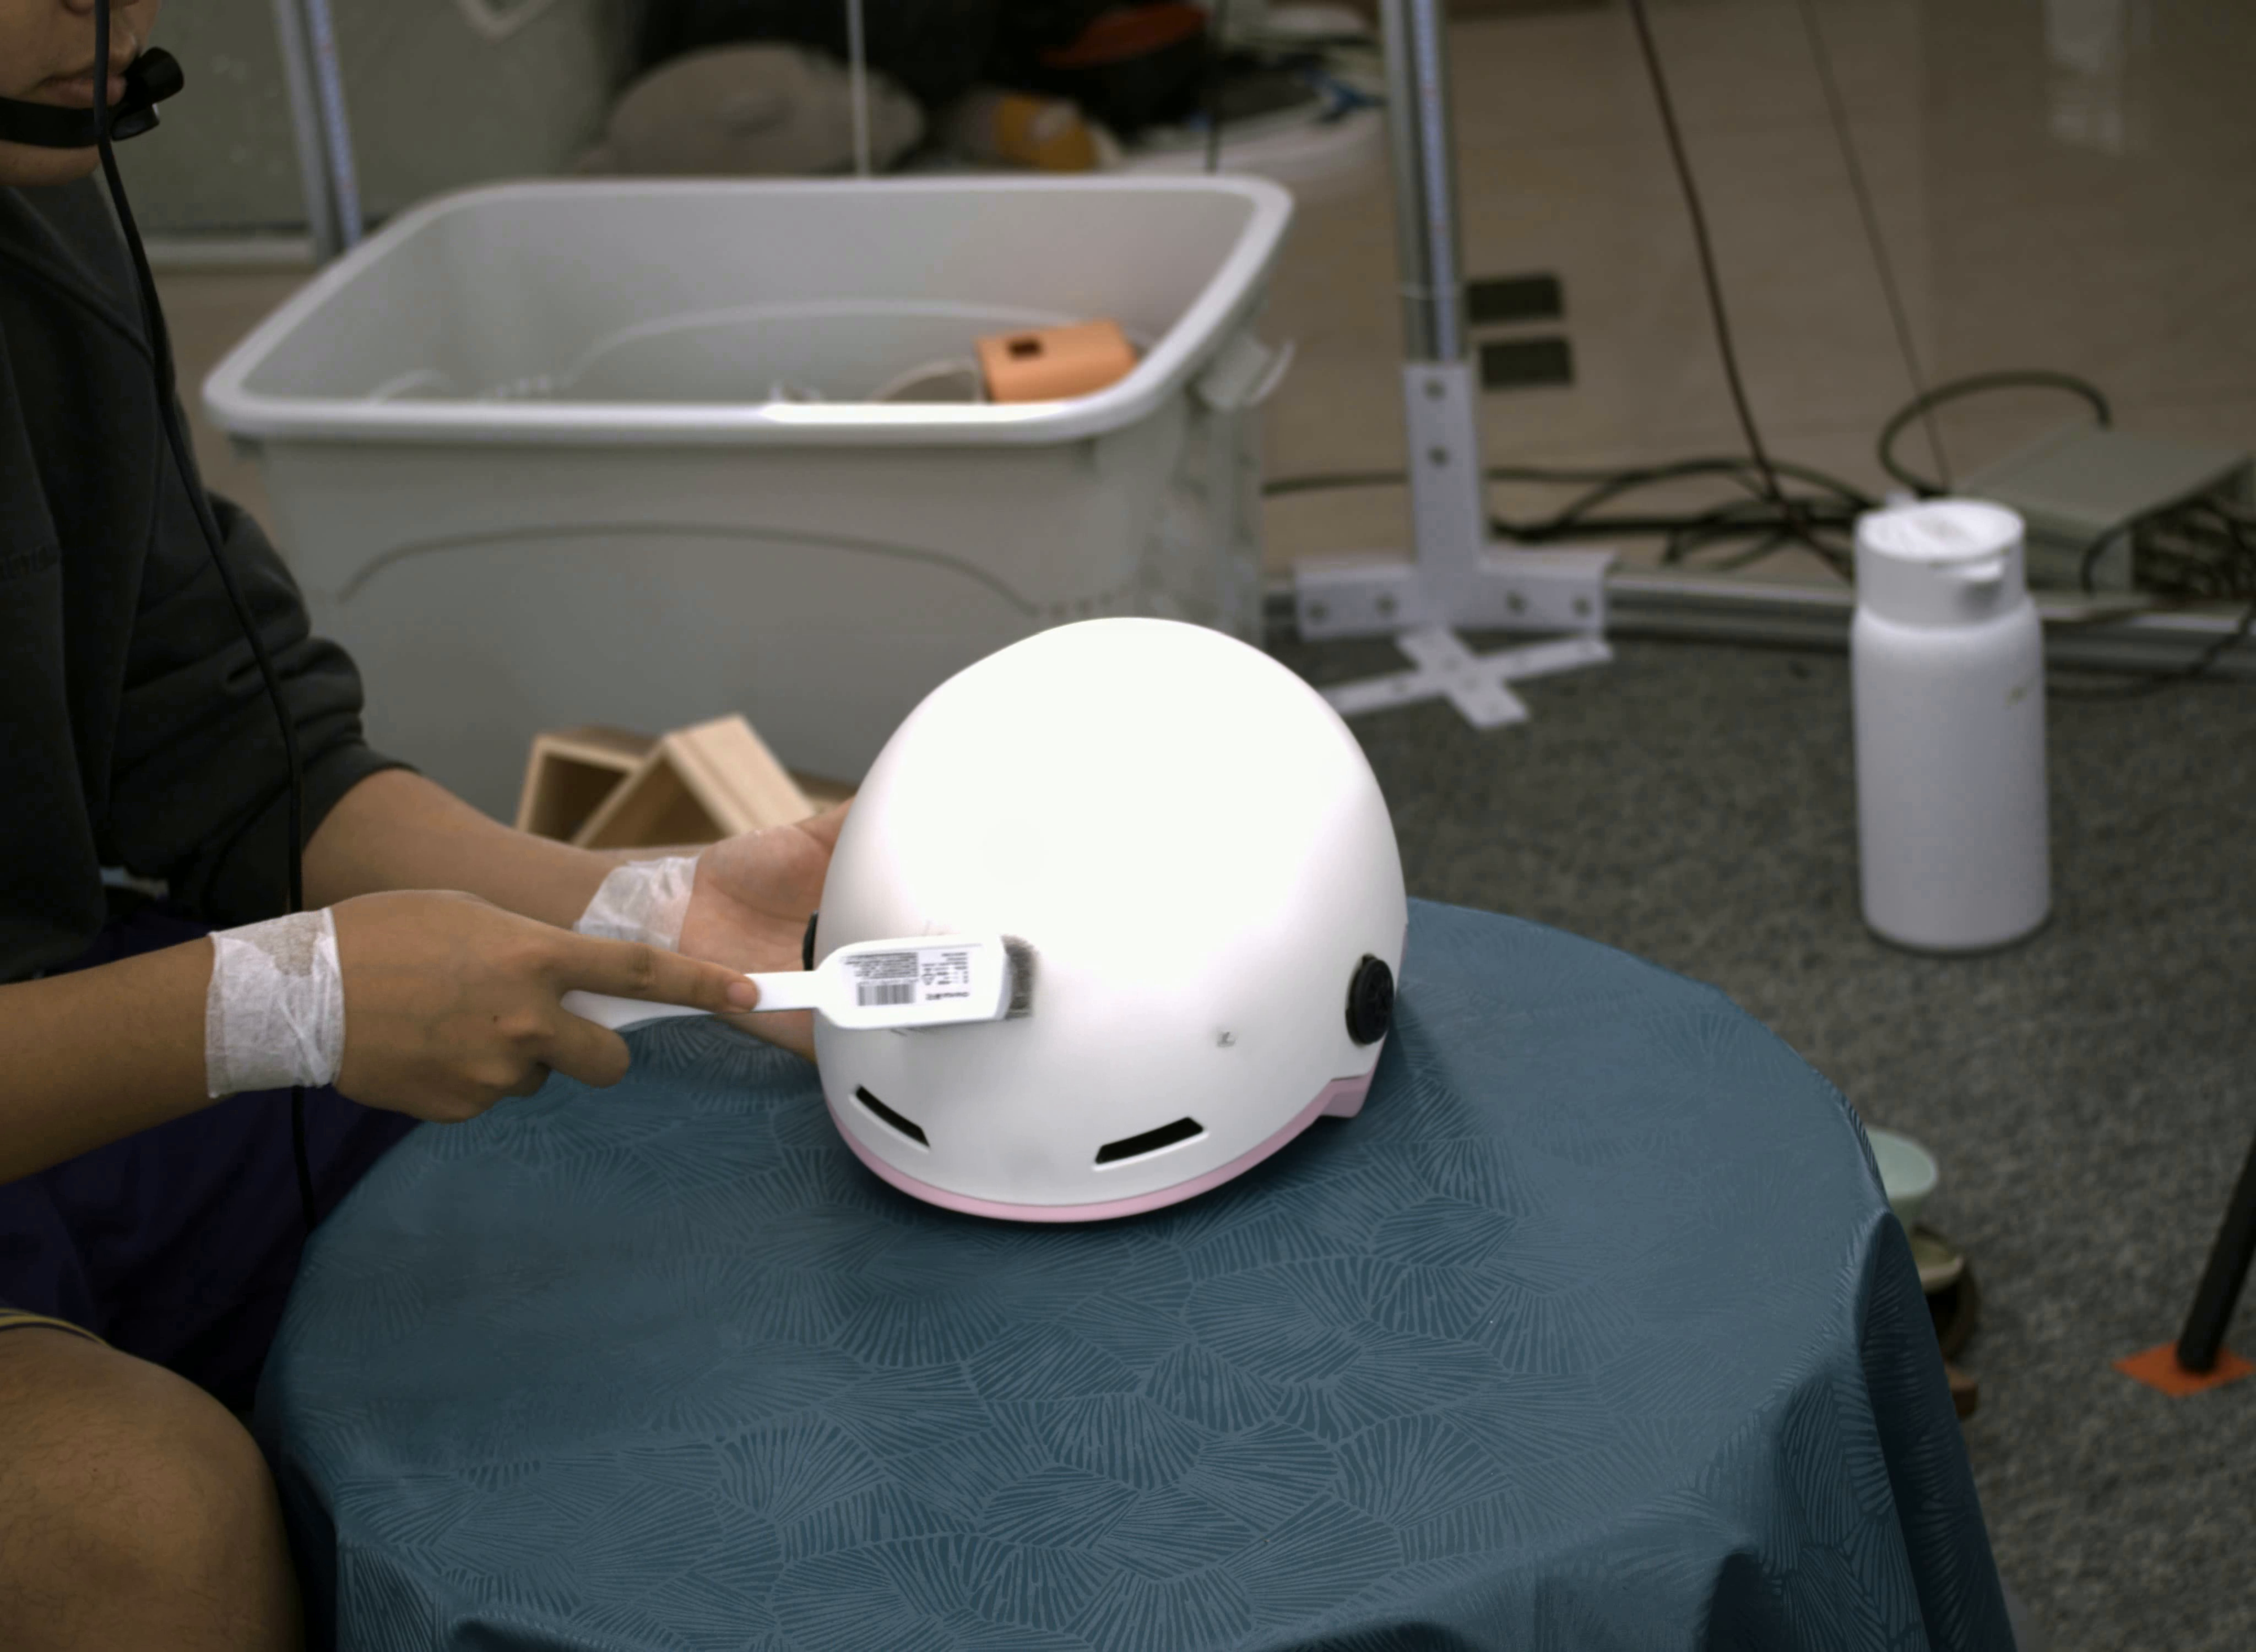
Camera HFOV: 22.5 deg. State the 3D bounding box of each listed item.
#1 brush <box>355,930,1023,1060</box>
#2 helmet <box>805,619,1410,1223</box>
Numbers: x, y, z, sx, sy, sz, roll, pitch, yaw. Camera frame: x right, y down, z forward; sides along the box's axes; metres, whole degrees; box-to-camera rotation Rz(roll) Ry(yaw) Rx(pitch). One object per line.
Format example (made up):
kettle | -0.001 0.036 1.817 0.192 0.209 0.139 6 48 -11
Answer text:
brush | -0.160 0.064 2.078 0.243 0.034 0.050 -5 -3 -1
helmet | -0.007 0.019 2.197 0.236 0.170 0.265 6 28 18
